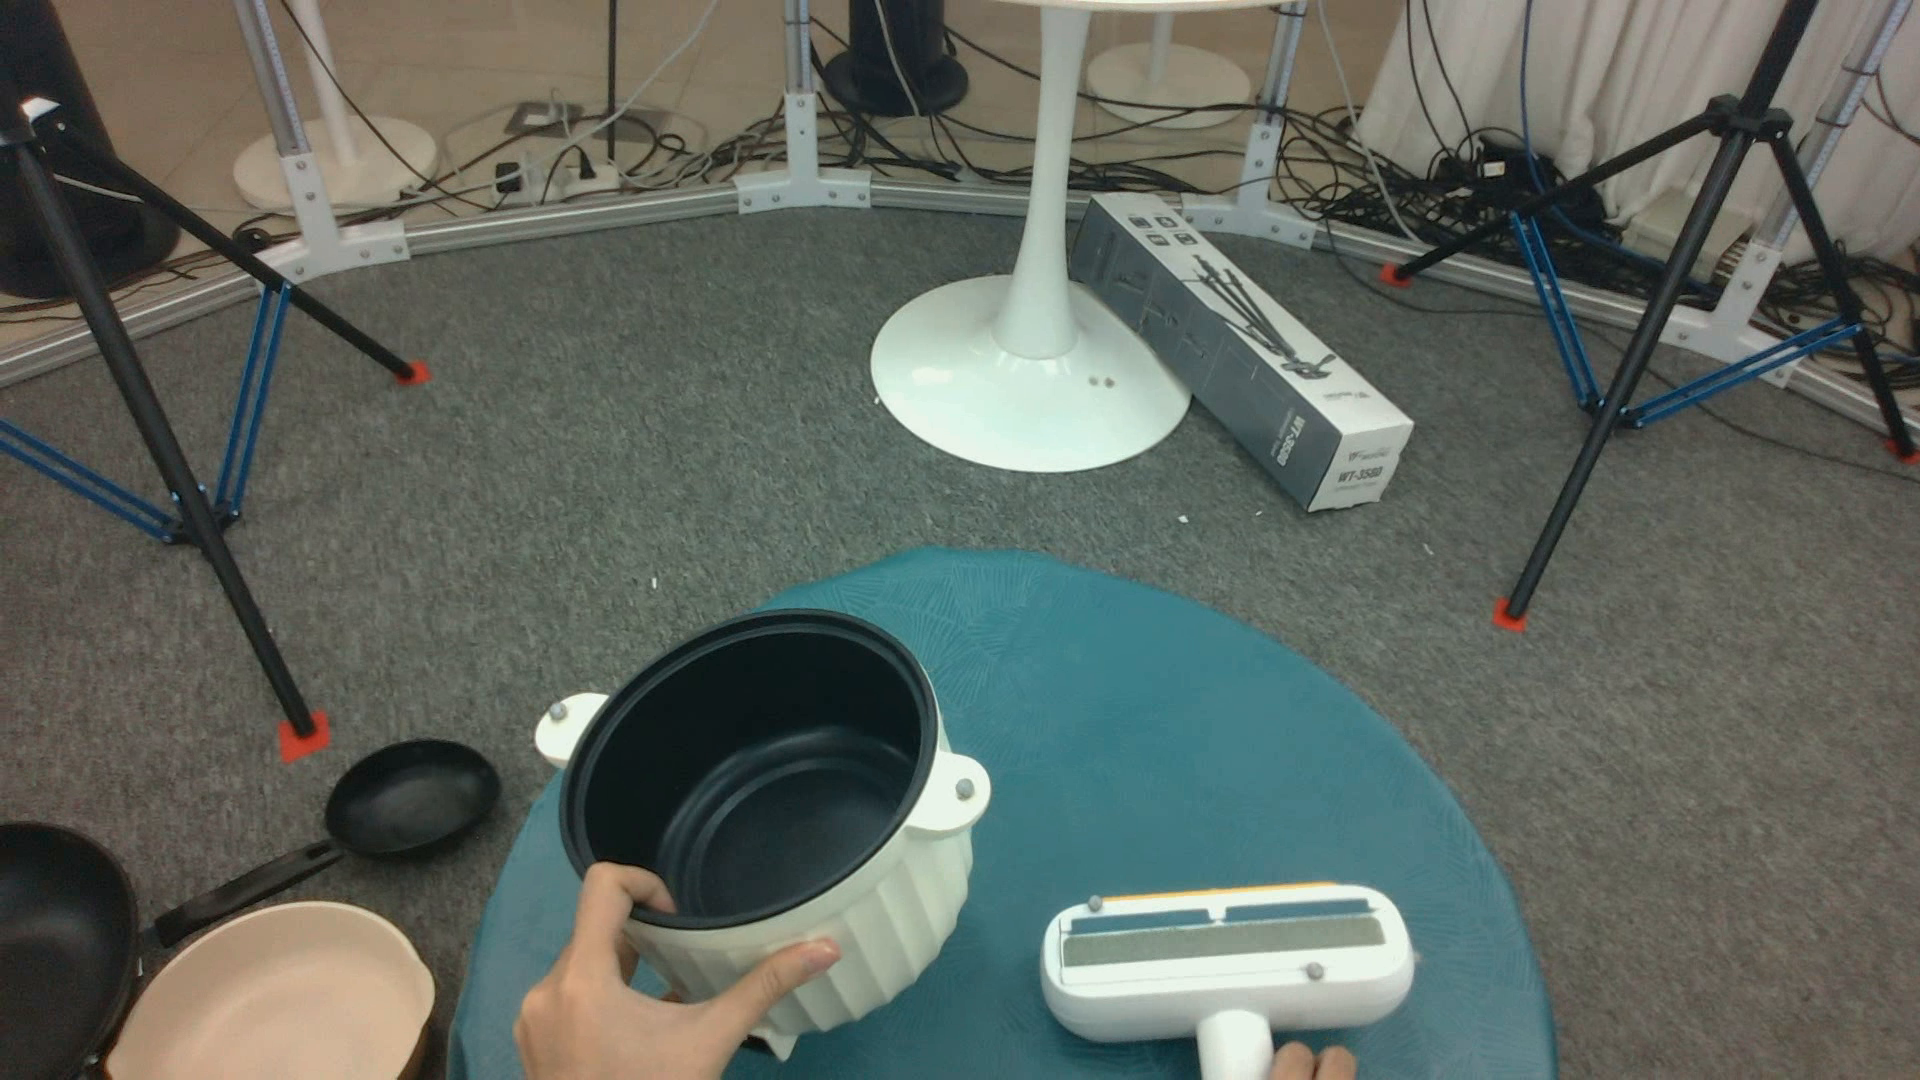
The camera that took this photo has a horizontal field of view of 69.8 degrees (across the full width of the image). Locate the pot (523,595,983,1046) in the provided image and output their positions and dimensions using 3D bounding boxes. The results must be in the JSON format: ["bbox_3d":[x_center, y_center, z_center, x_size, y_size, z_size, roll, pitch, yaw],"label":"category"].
[{"bbox_3d":[-0.090,0.135,0.689,0.240,0.142,0.191,7,50,20],"label":"pot"}]

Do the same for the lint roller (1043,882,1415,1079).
[{"bbox_3d":[0.137,0.266,0.699,0.193,0.074,0.193,0,46,6],"label":"lint roller"}]
